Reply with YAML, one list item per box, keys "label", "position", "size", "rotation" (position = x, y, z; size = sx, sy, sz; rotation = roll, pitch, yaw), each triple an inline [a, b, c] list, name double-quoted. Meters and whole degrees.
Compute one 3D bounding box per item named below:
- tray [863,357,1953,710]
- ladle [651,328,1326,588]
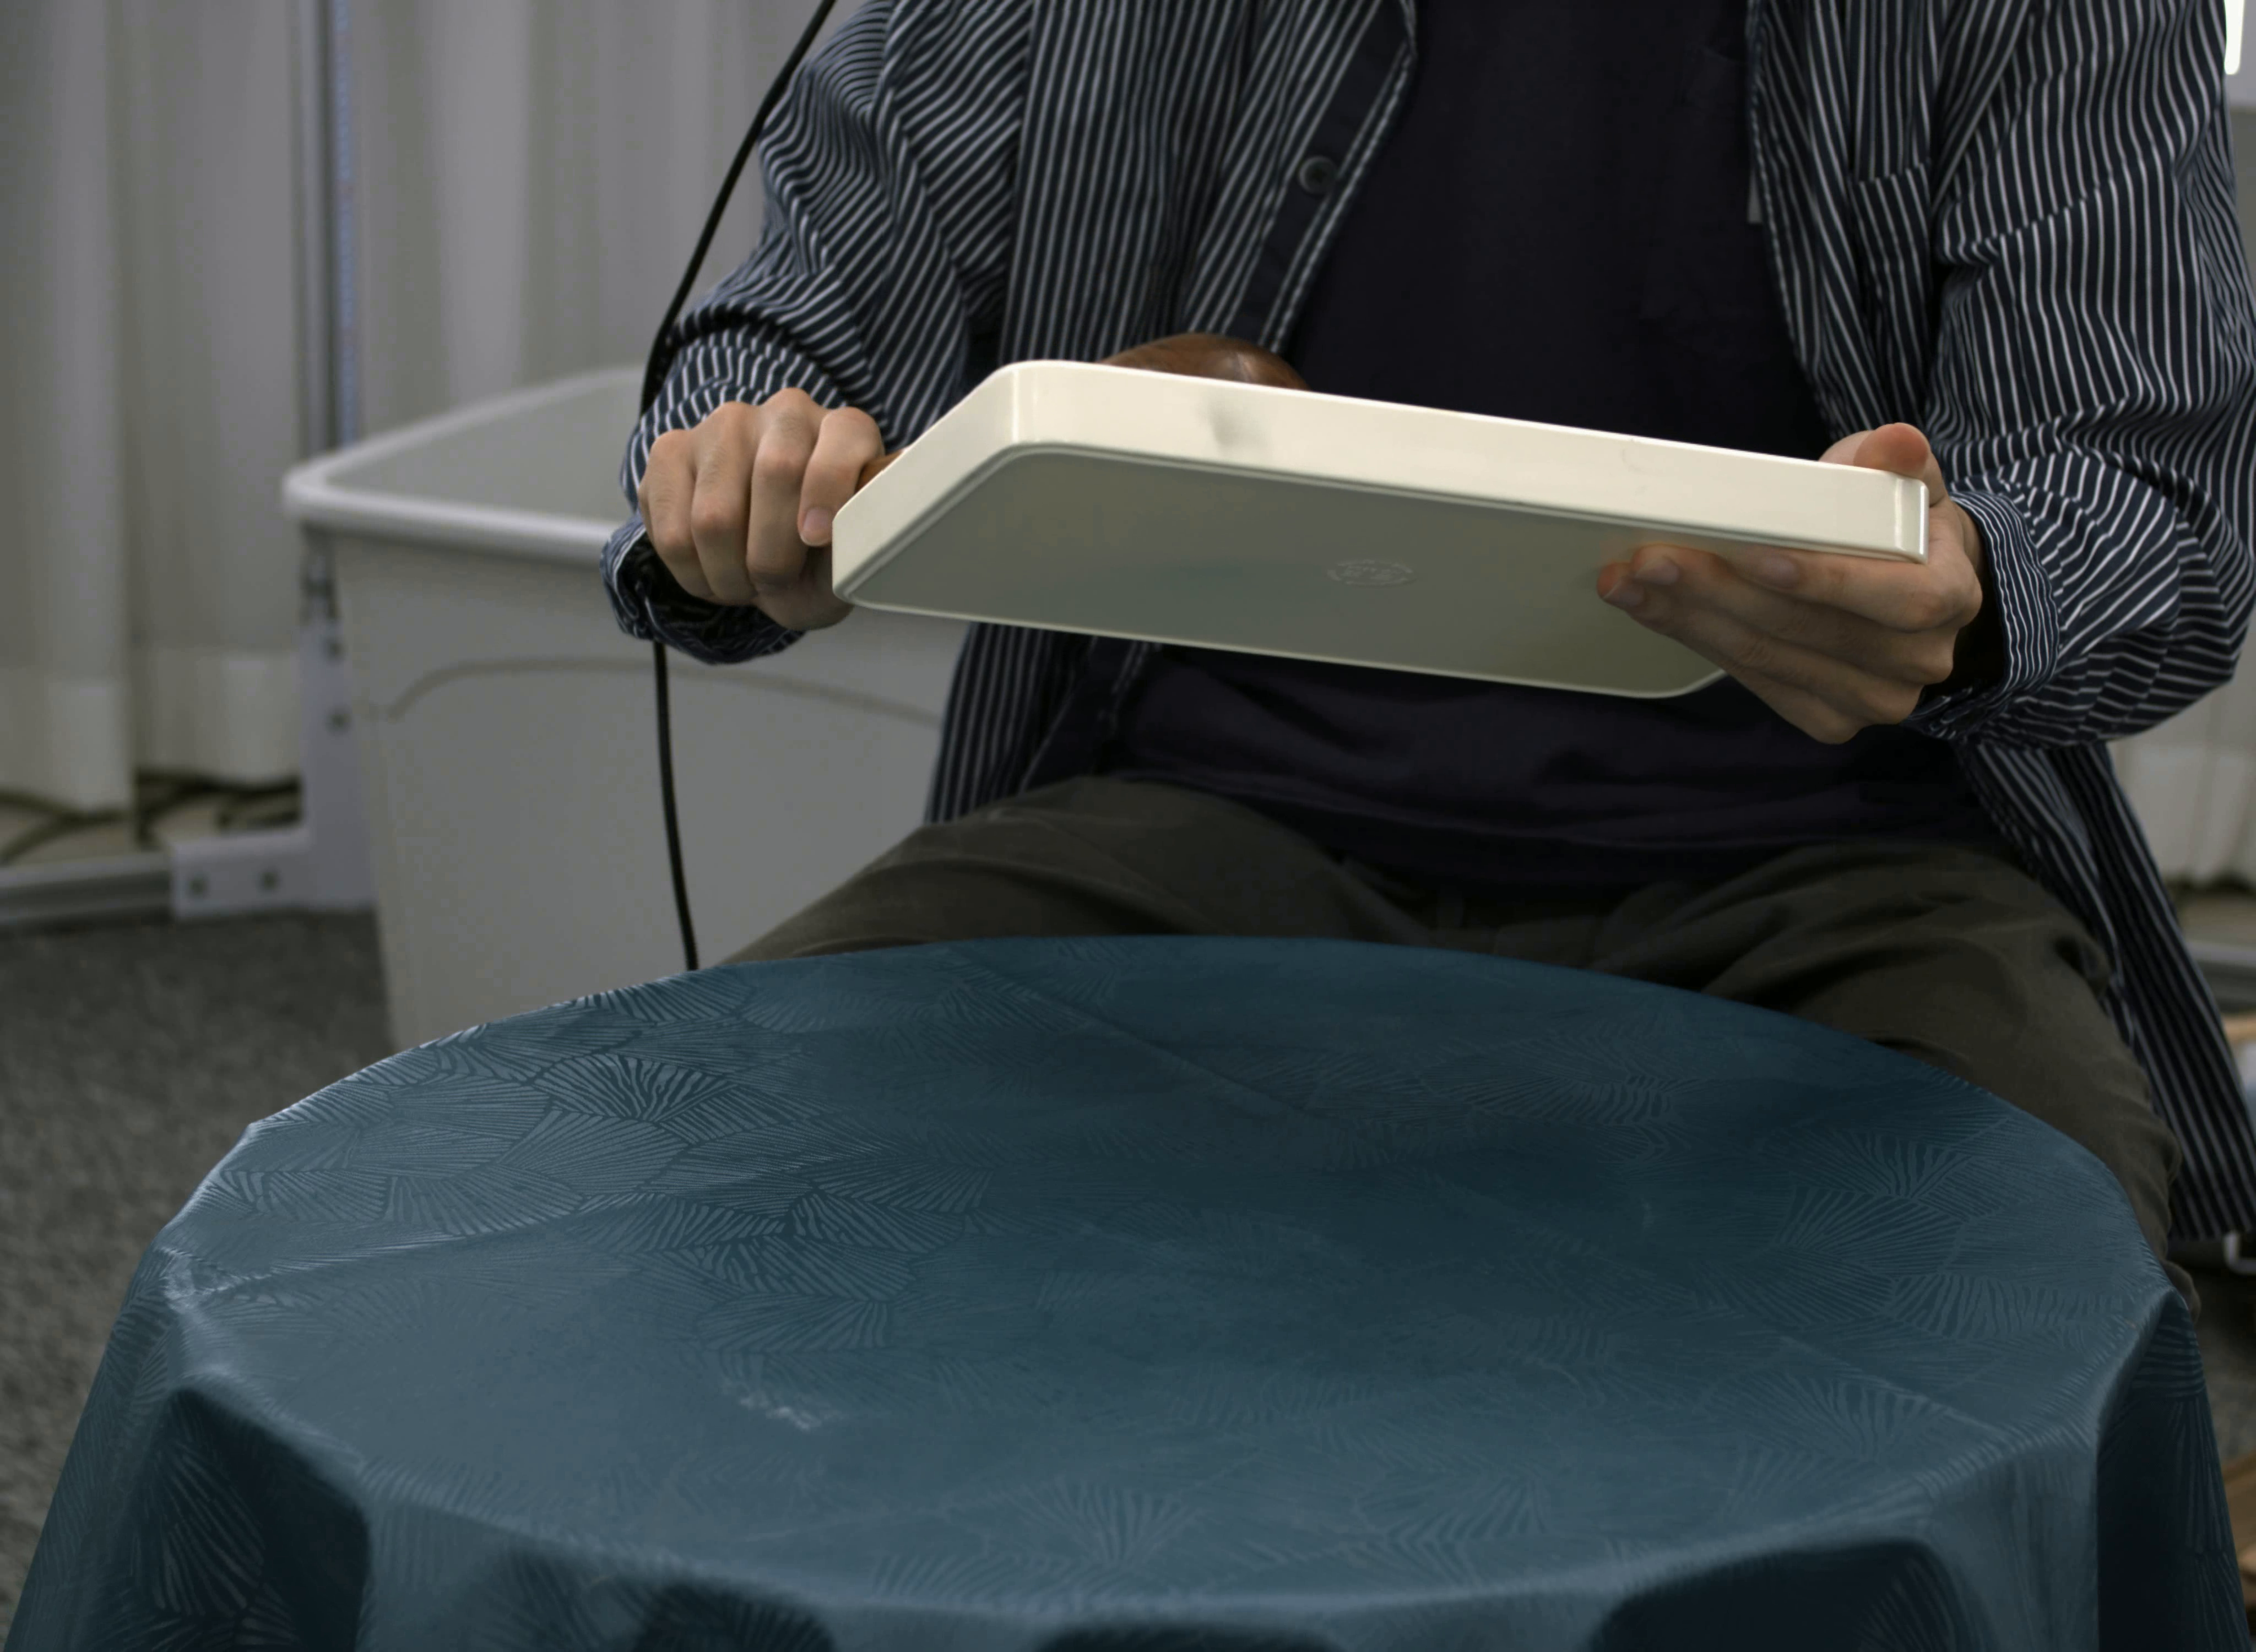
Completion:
- label: "tray"
  position: [0.083, -0.085, 1.623]
  size: [0.301, 0.027, 0.191]
  rotation: [6, -15, -19]
- label: "ladle"
  position: [-0.045, -0.101, 1.711]
  size: [0.272, 0.077, 0.081]
  rotation: [-17, 36, 47]
